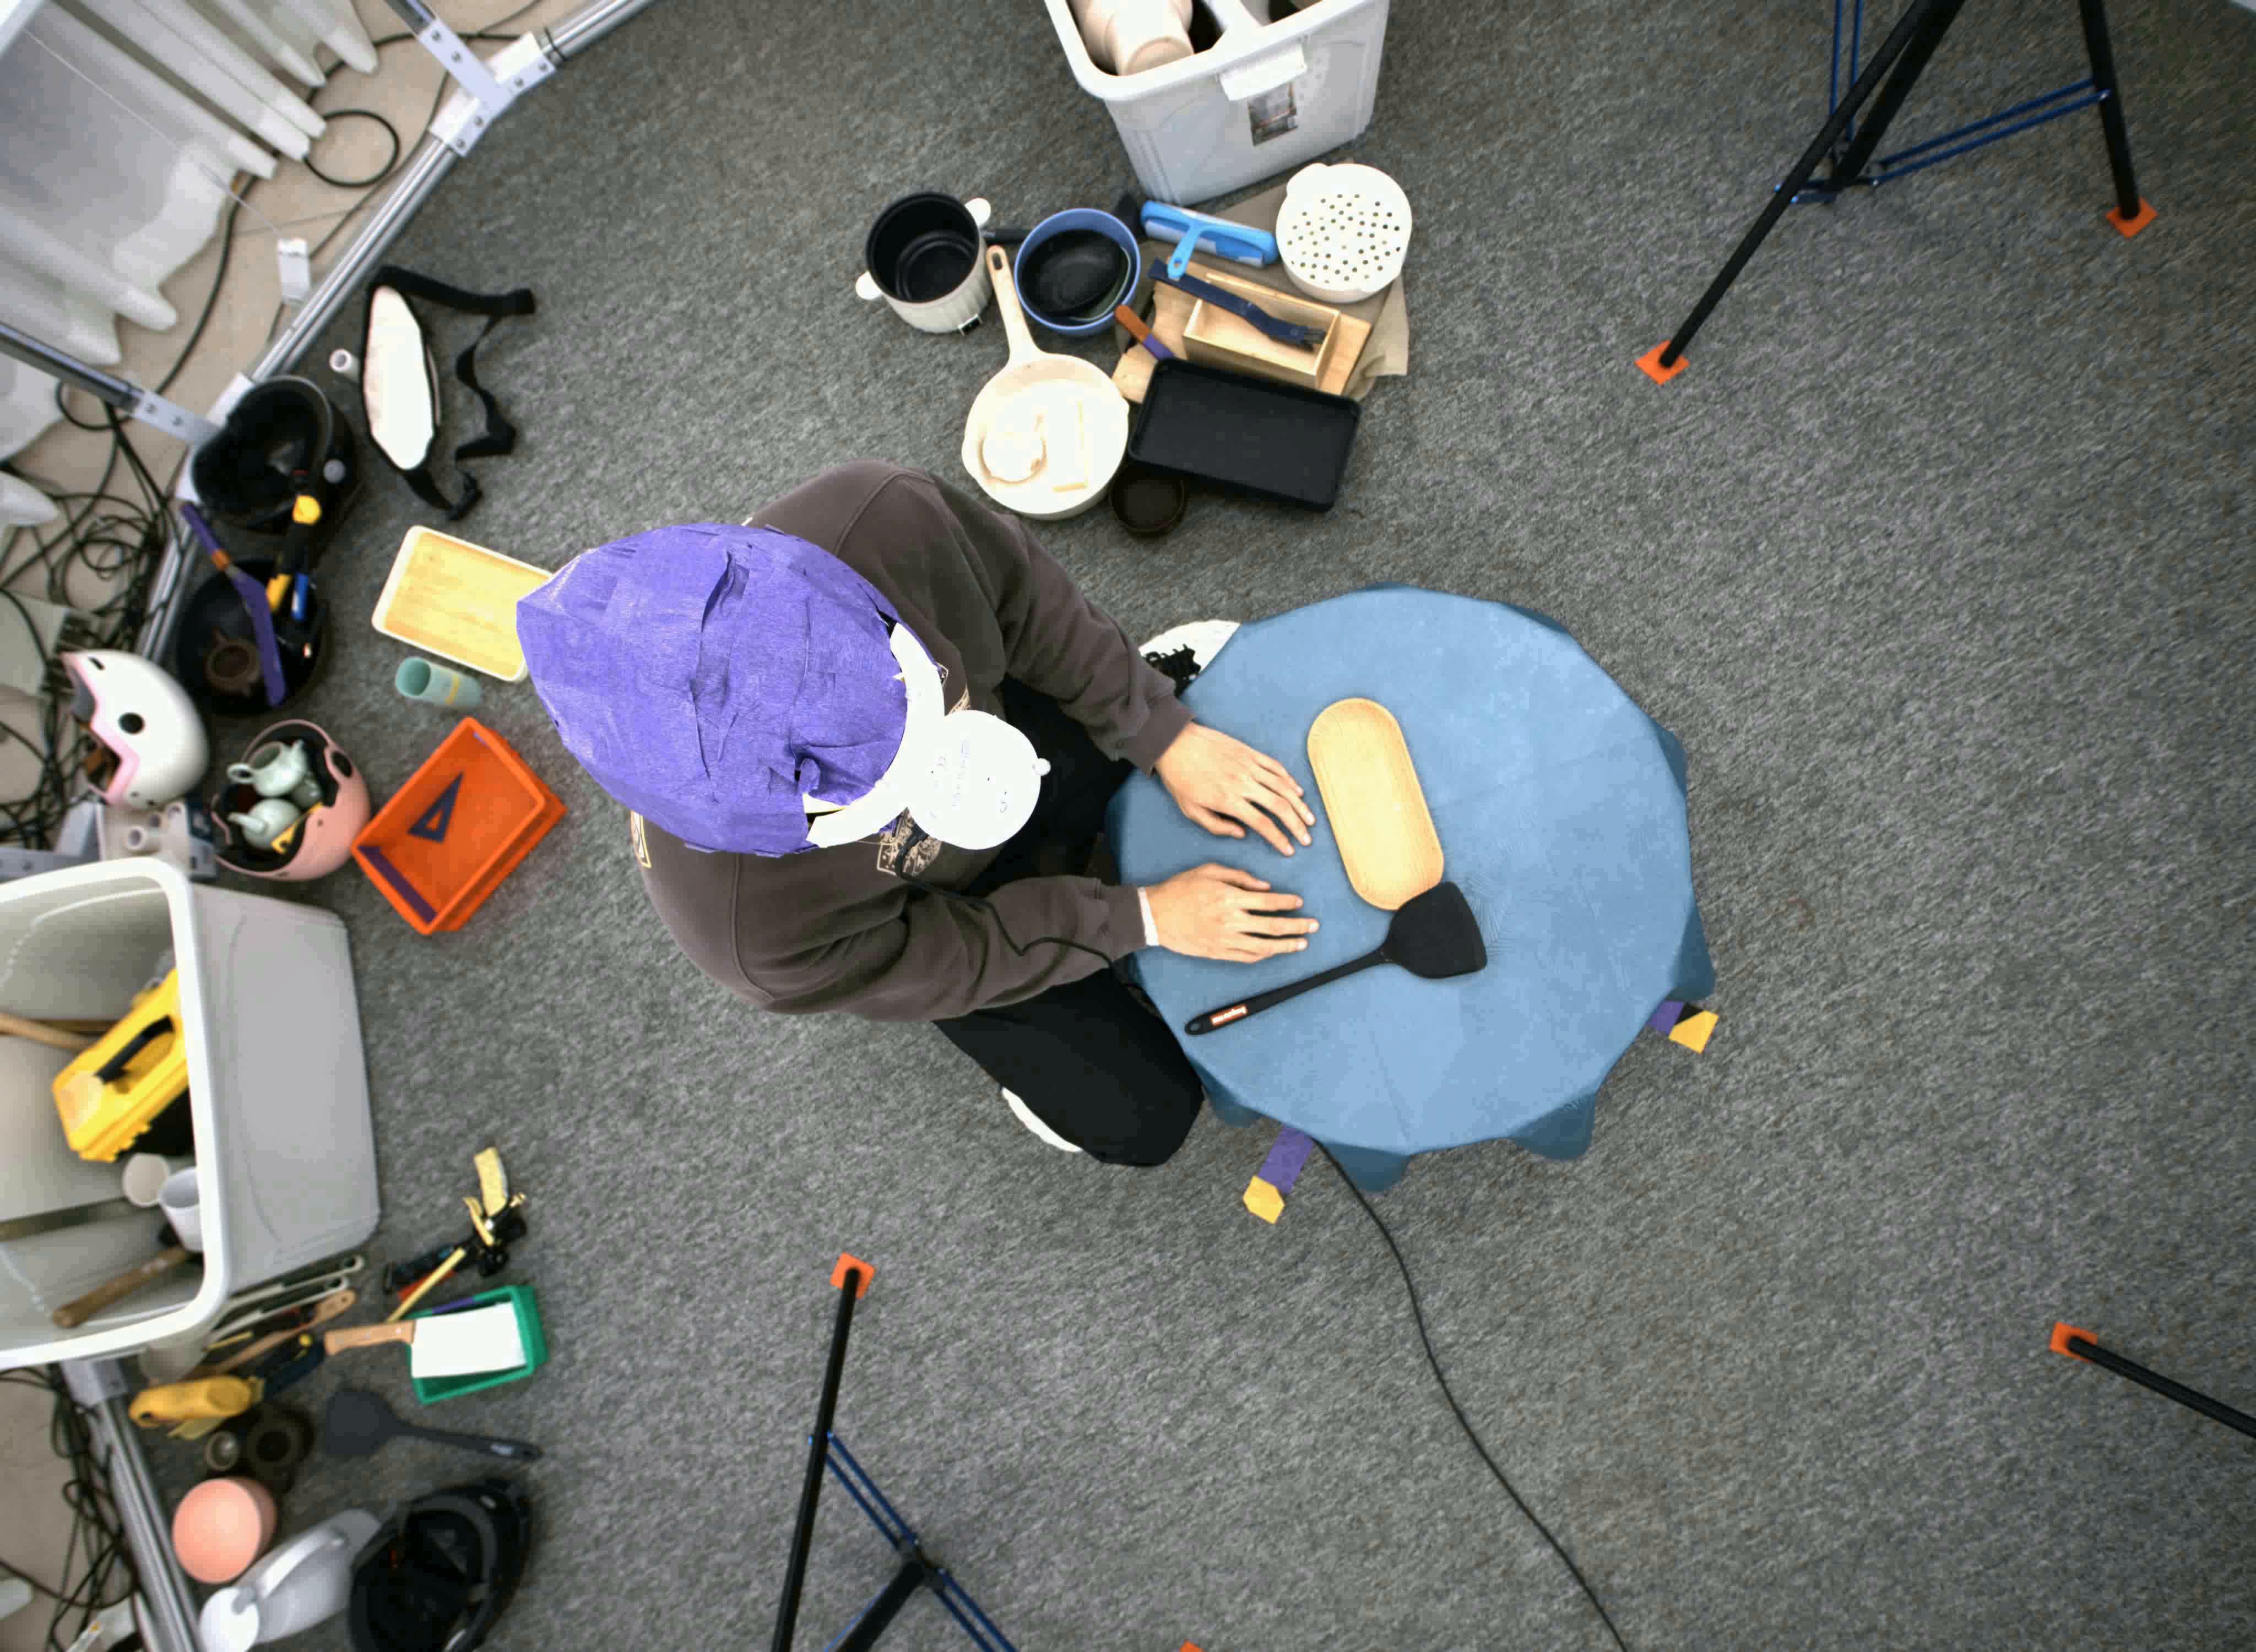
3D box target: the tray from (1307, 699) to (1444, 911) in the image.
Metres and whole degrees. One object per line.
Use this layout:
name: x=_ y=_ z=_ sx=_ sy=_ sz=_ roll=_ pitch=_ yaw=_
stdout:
tray: x=0.260 y=-0.024 z=1.456 sx=0.102 sy=0.020 sz=0.230 roll=-18 pitch=85 yaw=9

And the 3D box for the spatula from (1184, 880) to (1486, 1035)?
spatula: x=0.207 y=0.156 z=1.447 sx=0.328 sy=0.040 sz=0.099 roll=-23 pitch=88 yaw=9
